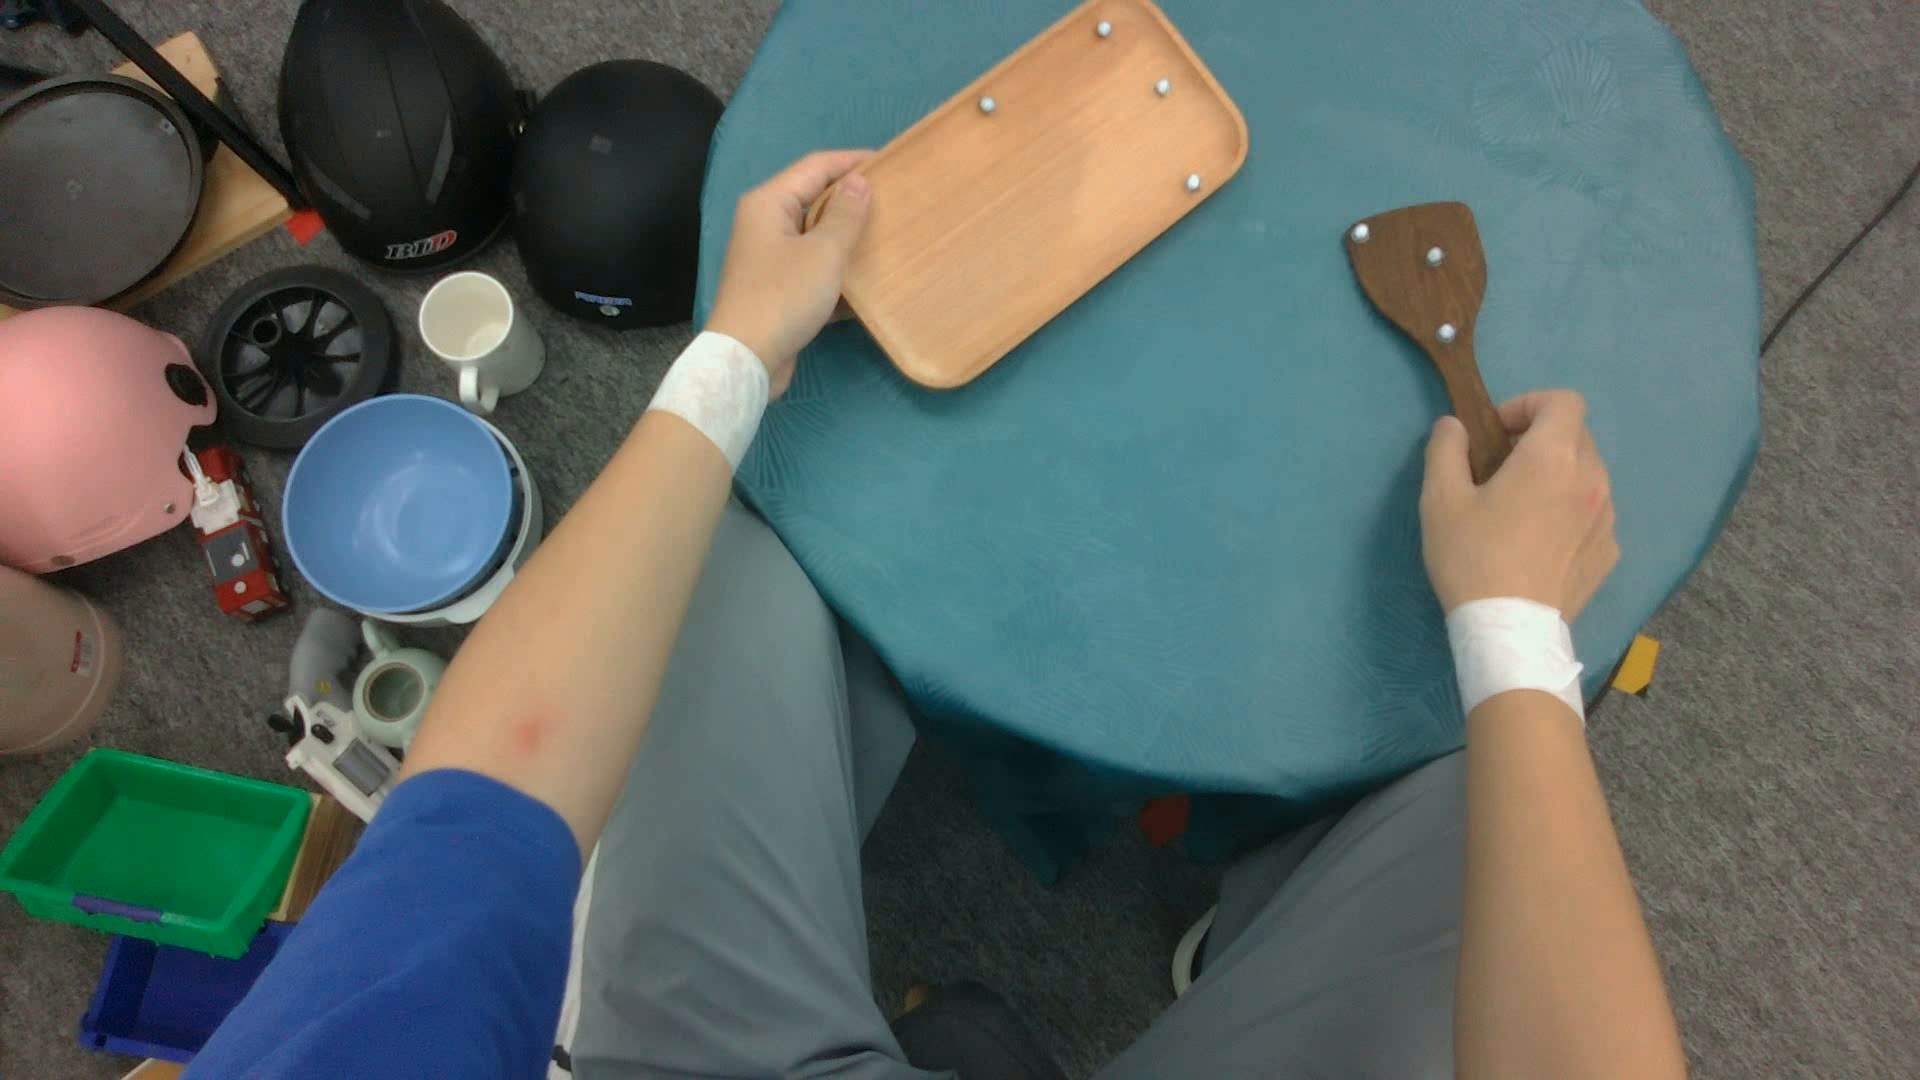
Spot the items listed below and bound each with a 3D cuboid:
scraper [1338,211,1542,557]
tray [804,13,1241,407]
[{"bbox_3d":[0.272,-0.088,0.757,0.076,0.011,0.212,-12,68,0],"label":"scraper"},{"bbox_3d":[0.038,-0.187,0.775,0.251,0.023,0.130,-38,89,-11],"label":"tray"}]
